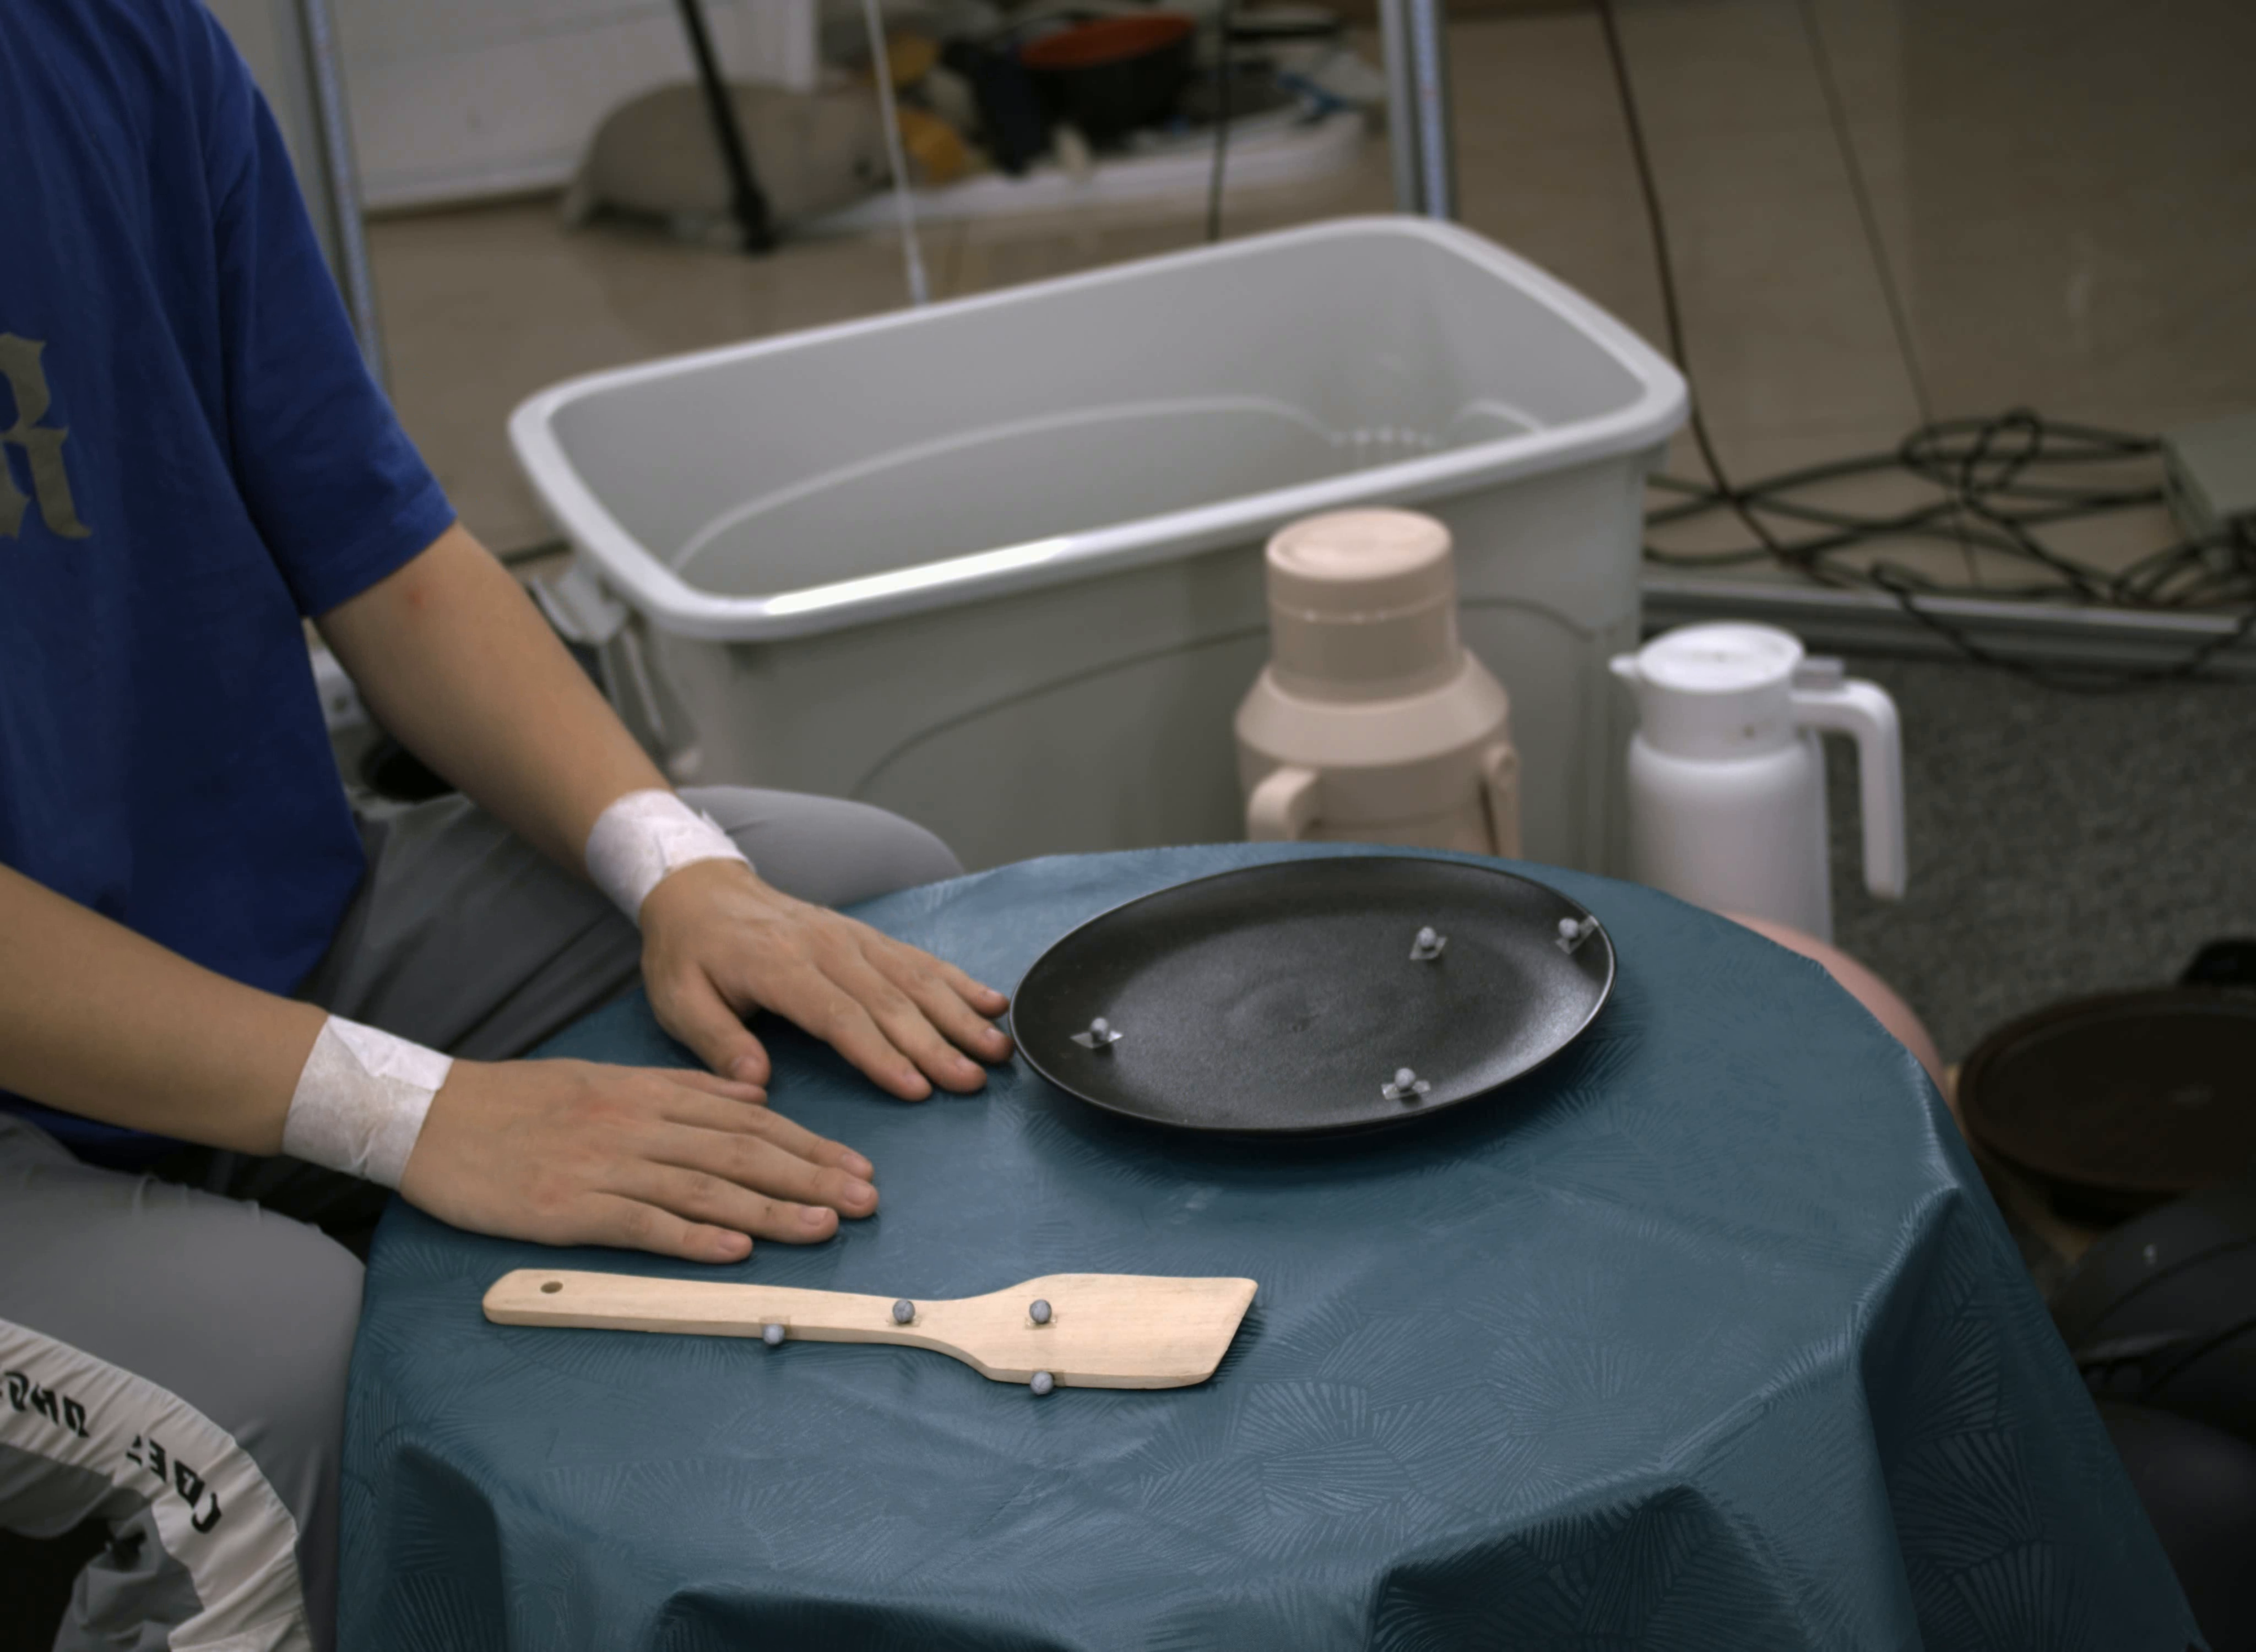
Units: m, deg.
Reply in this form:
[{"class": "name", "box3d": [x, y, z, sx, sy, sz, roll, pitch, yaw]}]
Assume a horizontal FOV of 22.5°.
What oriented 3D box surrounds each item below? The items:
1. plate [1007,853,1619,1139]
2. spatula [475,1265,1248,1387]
[{"class": "plate", "box3d": [0.073, 0.072, 2.245, 0.244, 0.024, 0.241, -5, 25, 3]}, {"class": "spatula", "box3d": [-0.103, 0.178, 2.077, 0.292, 0.011, 0.071, 2, 27, 17]}]
